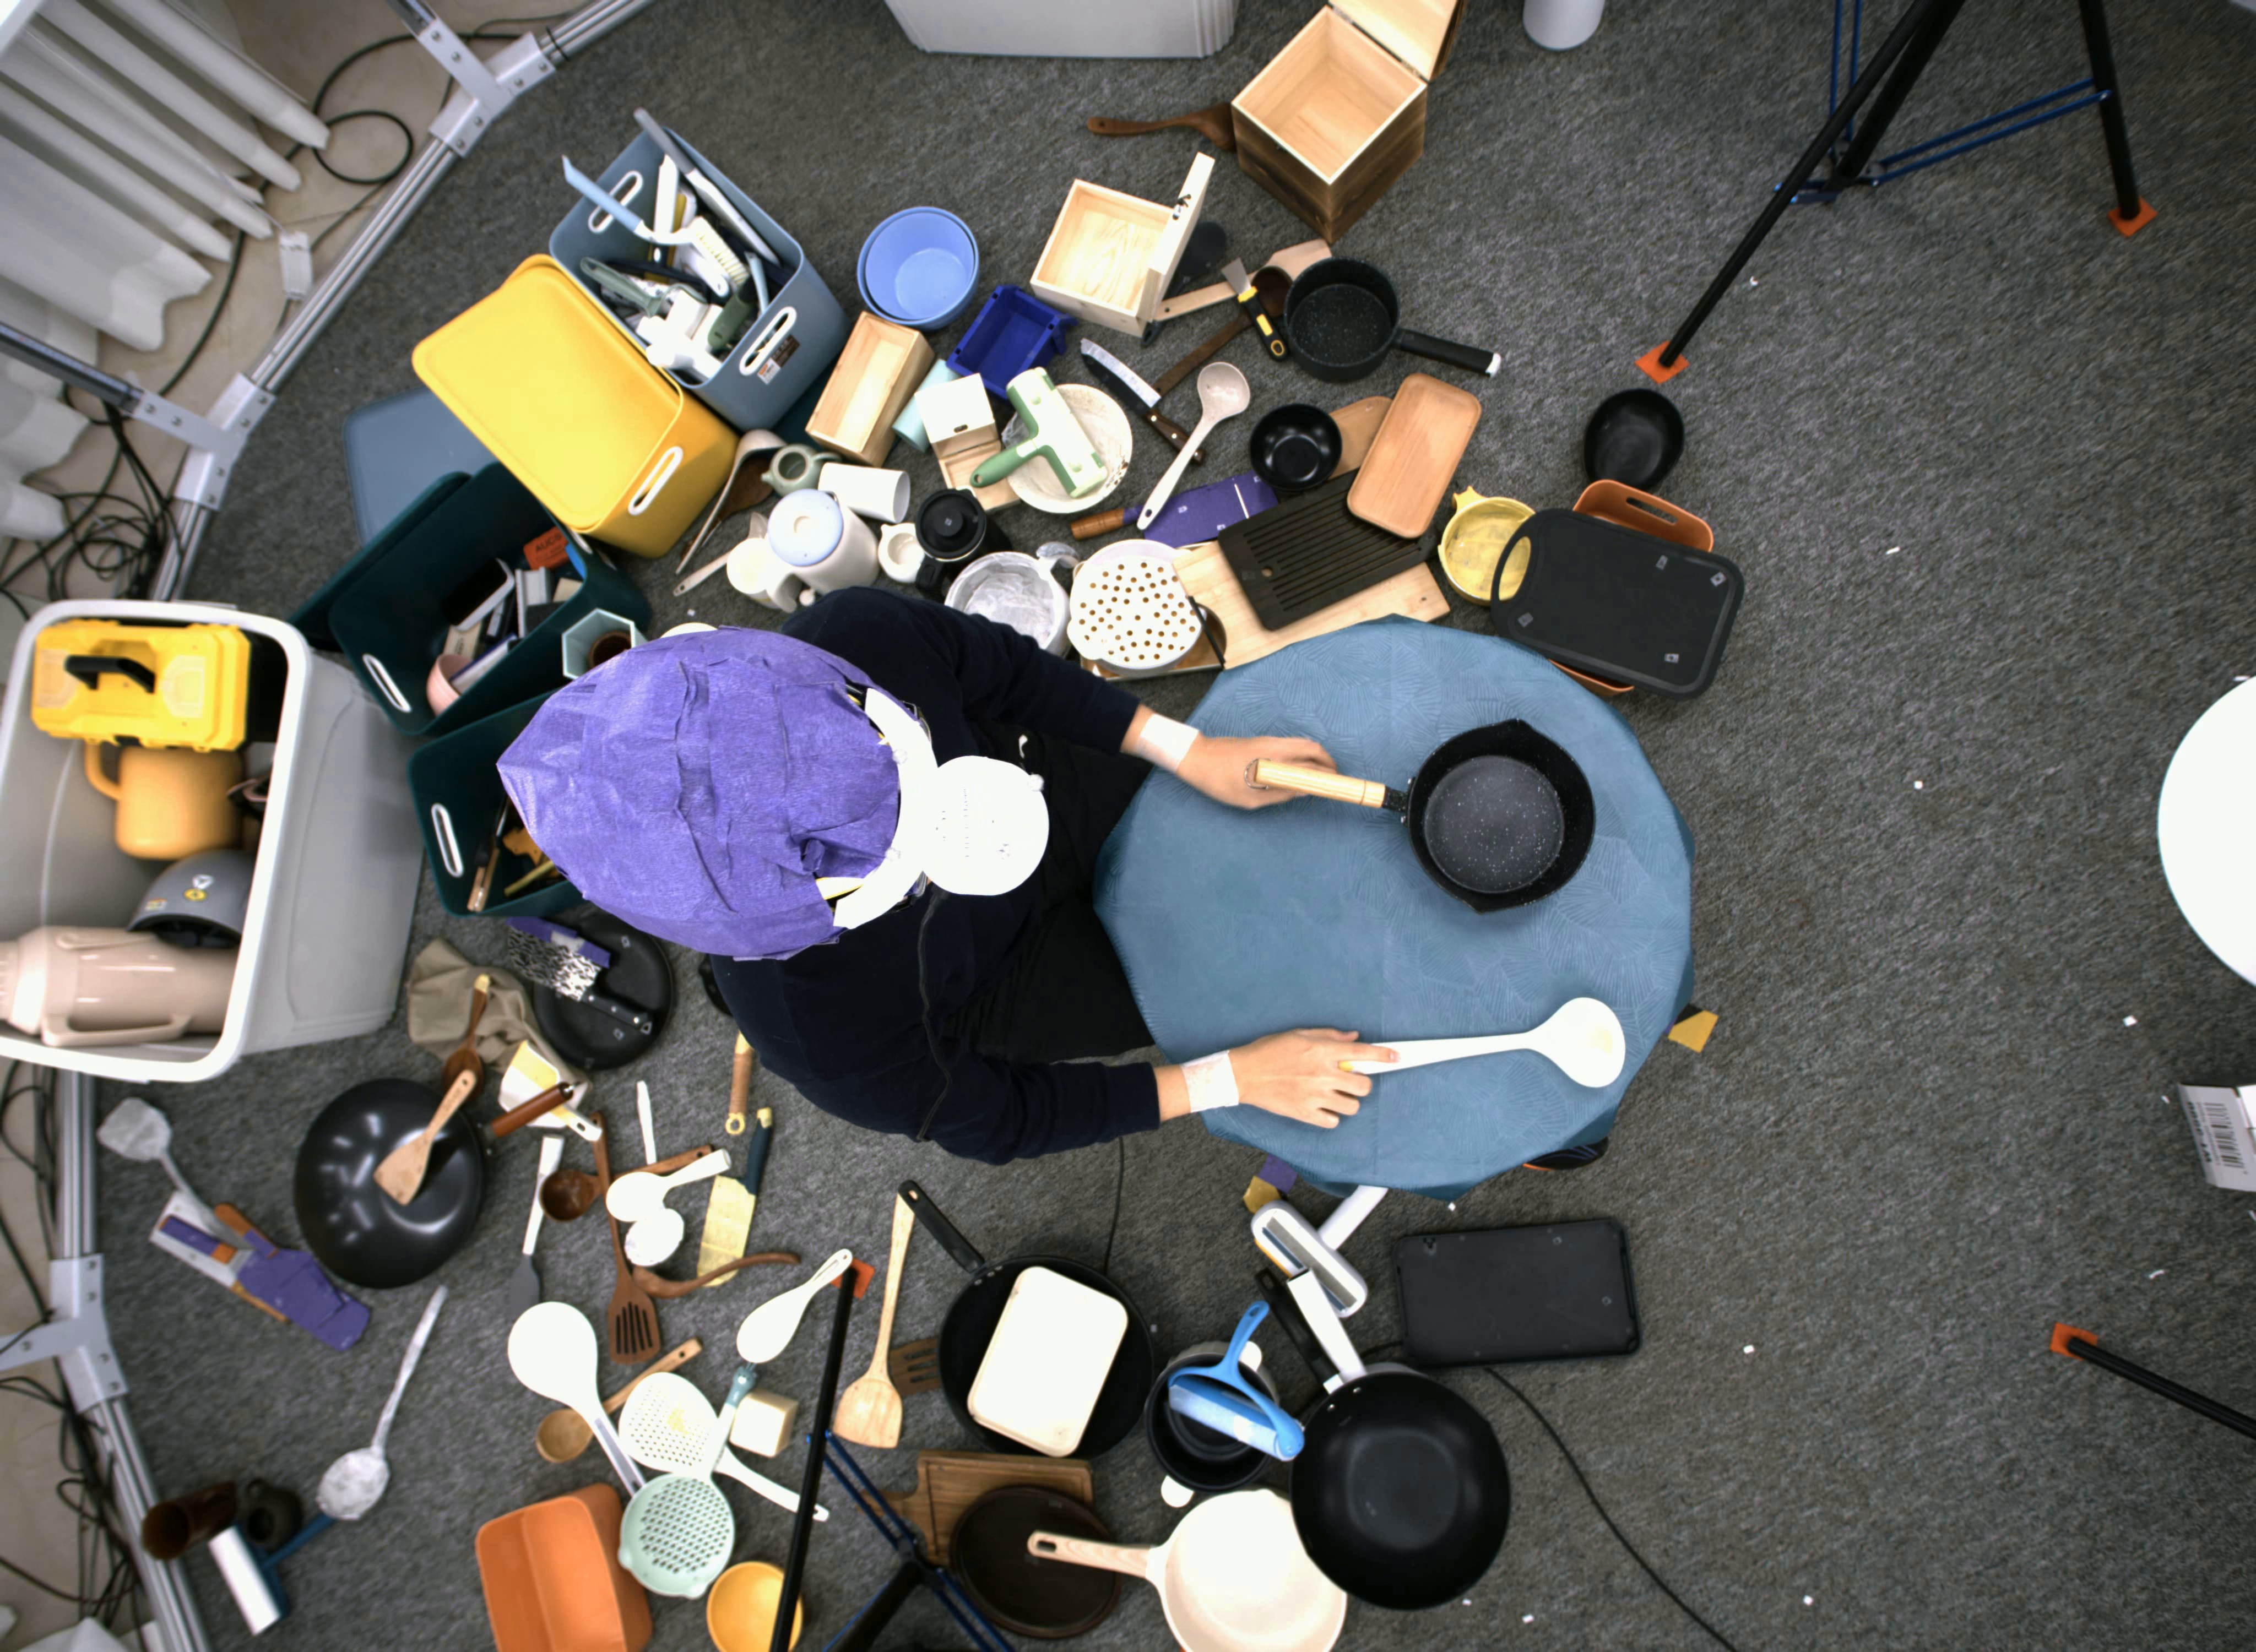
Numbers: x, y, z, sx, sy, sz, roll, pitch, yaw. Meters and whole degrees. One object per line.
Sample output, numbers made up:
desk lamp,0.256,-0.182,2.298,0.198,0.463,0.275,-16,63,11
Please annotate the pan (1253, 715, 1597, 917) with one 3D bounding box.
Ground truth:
pan,0.297,-0.021,1.405,0.343,0.108,0.207,9,89,10

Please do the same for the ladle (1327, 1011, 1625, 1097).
ladle,0.350,0.234,1.406,0.294,0.069,0.091,-6,101,11
